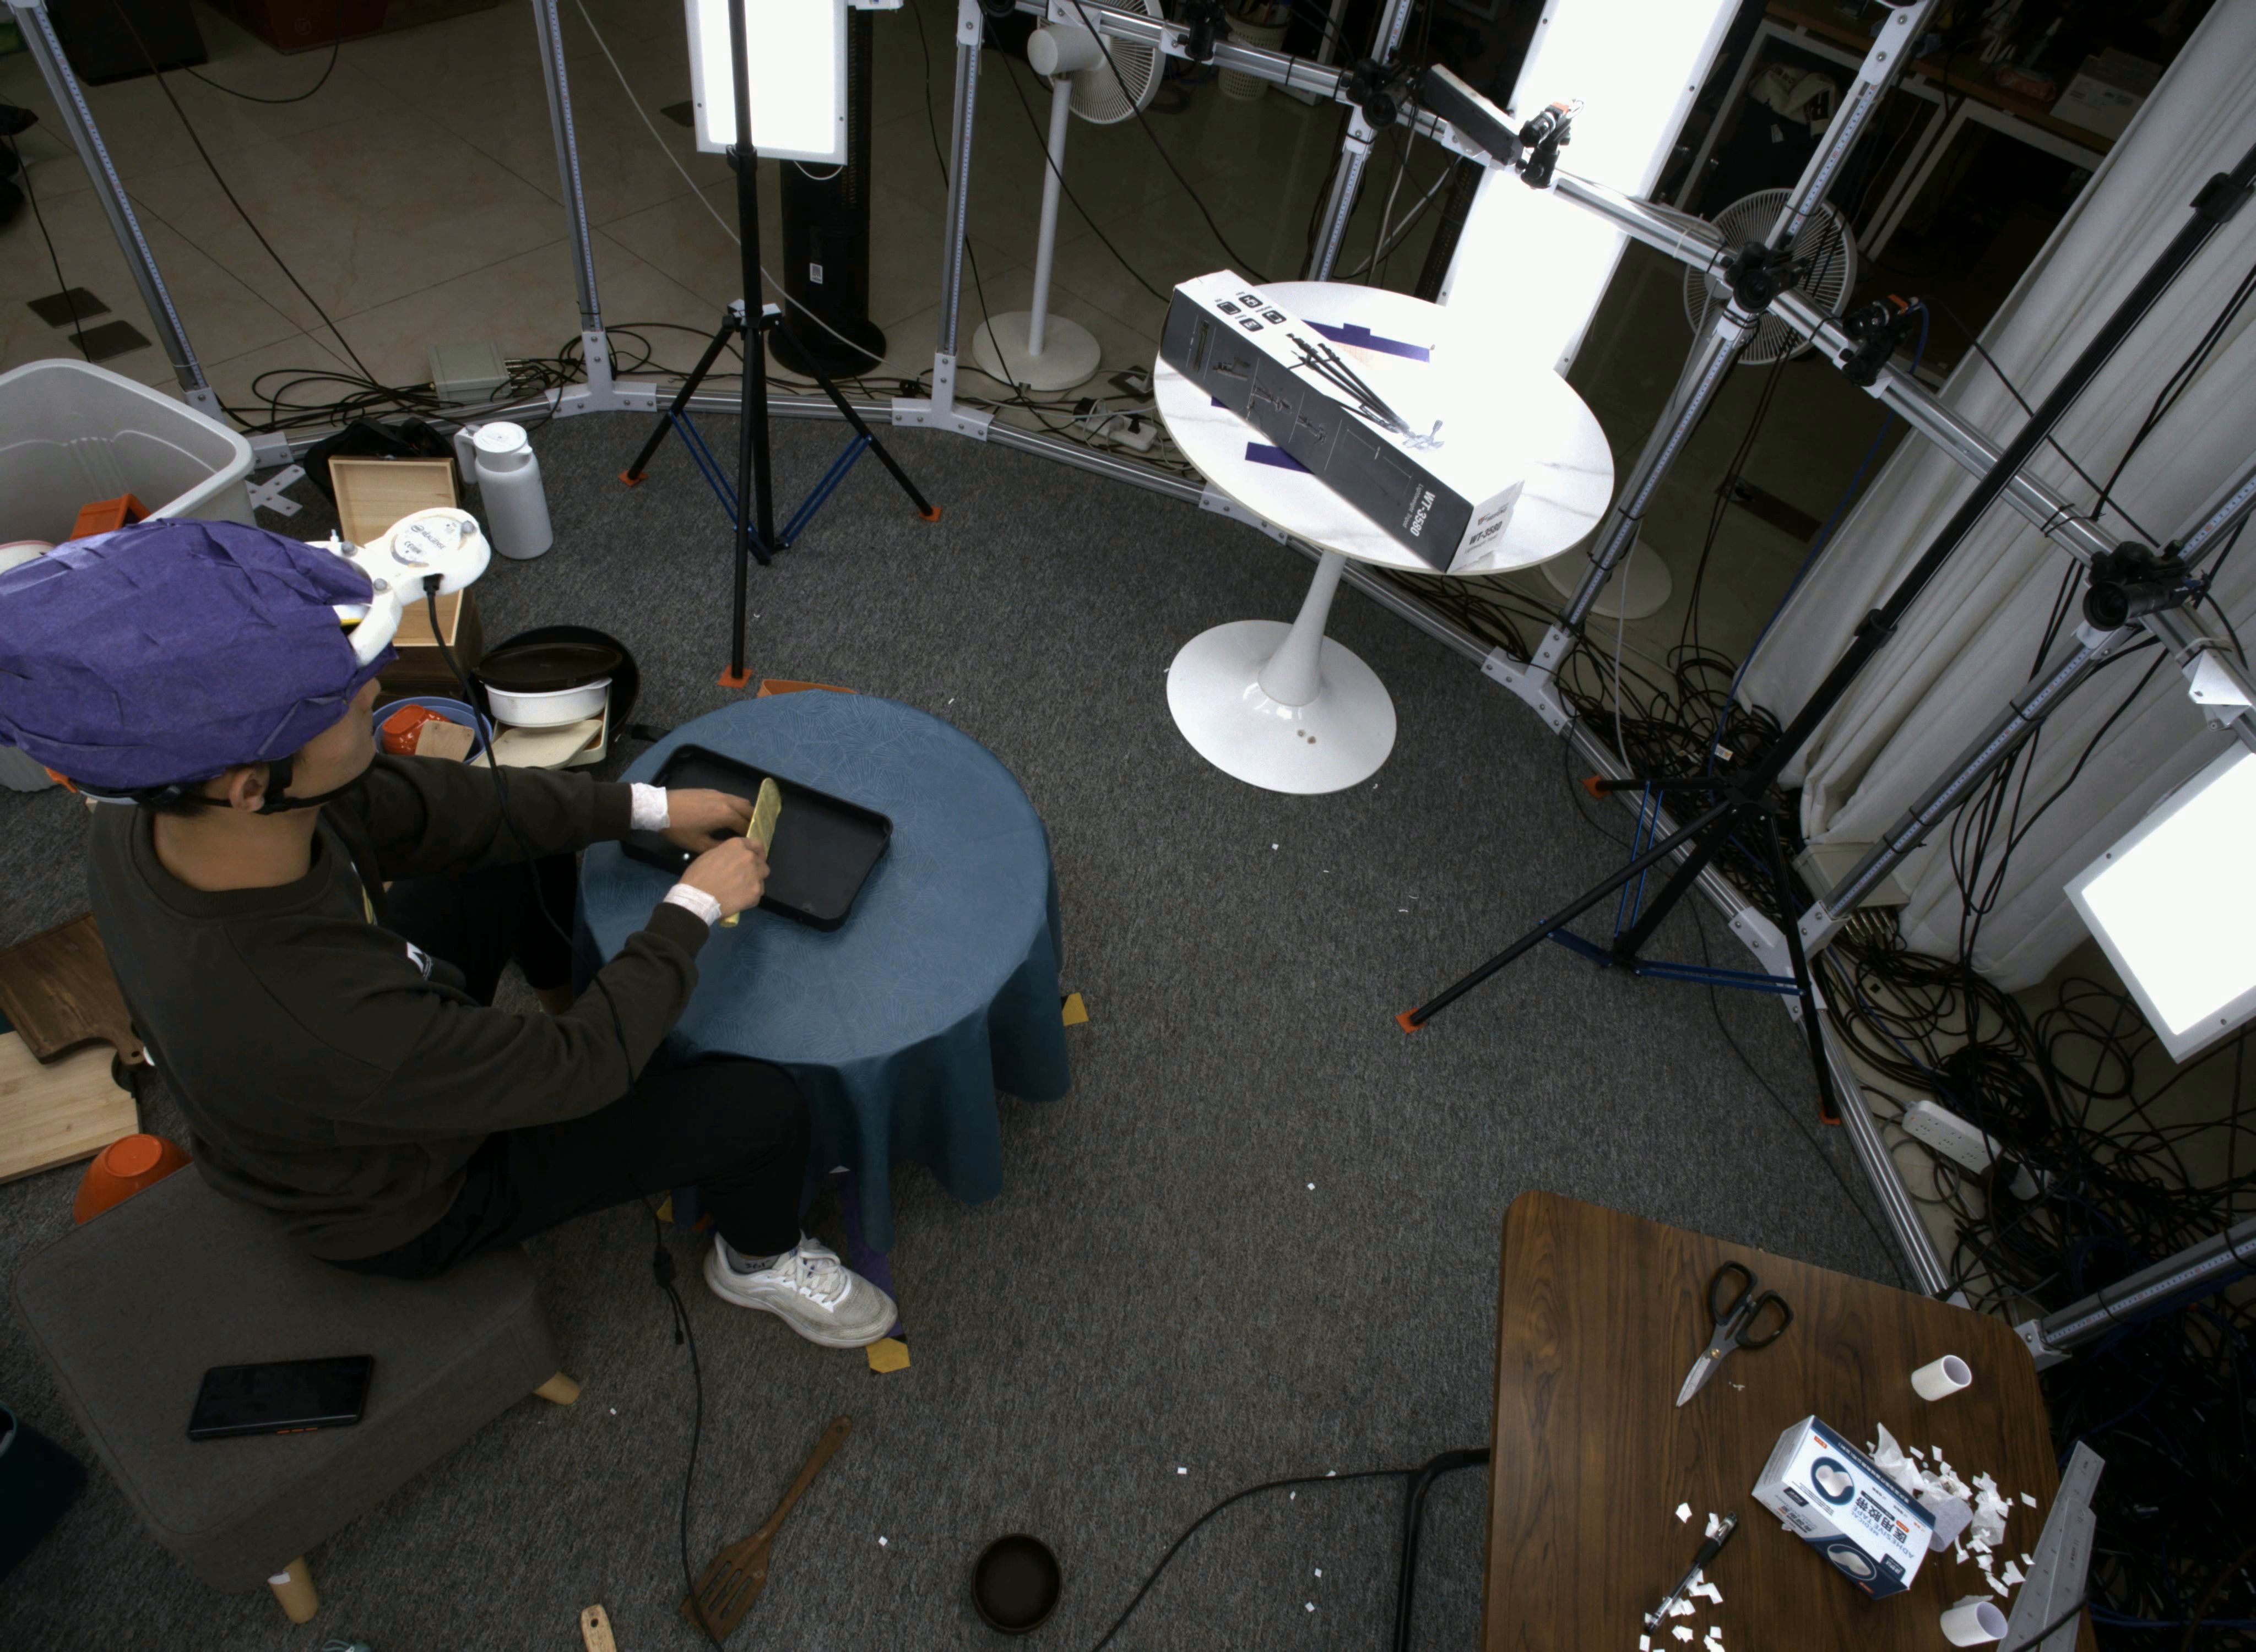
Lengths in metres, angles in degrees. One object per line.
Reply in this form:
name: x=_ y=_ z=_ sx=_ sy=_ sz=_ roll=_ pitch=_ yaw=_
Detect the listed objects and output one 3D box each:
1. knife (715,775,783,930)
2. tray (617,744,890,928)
knife: x=-0.468 y=0.033 z=1.623 sx=0.027 sy=0.084 sz=0.283 roll=-3 pitch=39 yaw=5
tray: x=-0.487 y=0.009 z=1.688 sx=0.315 sy=0.038 sz=0.182 roll=19 pitch=52 yaw=0
